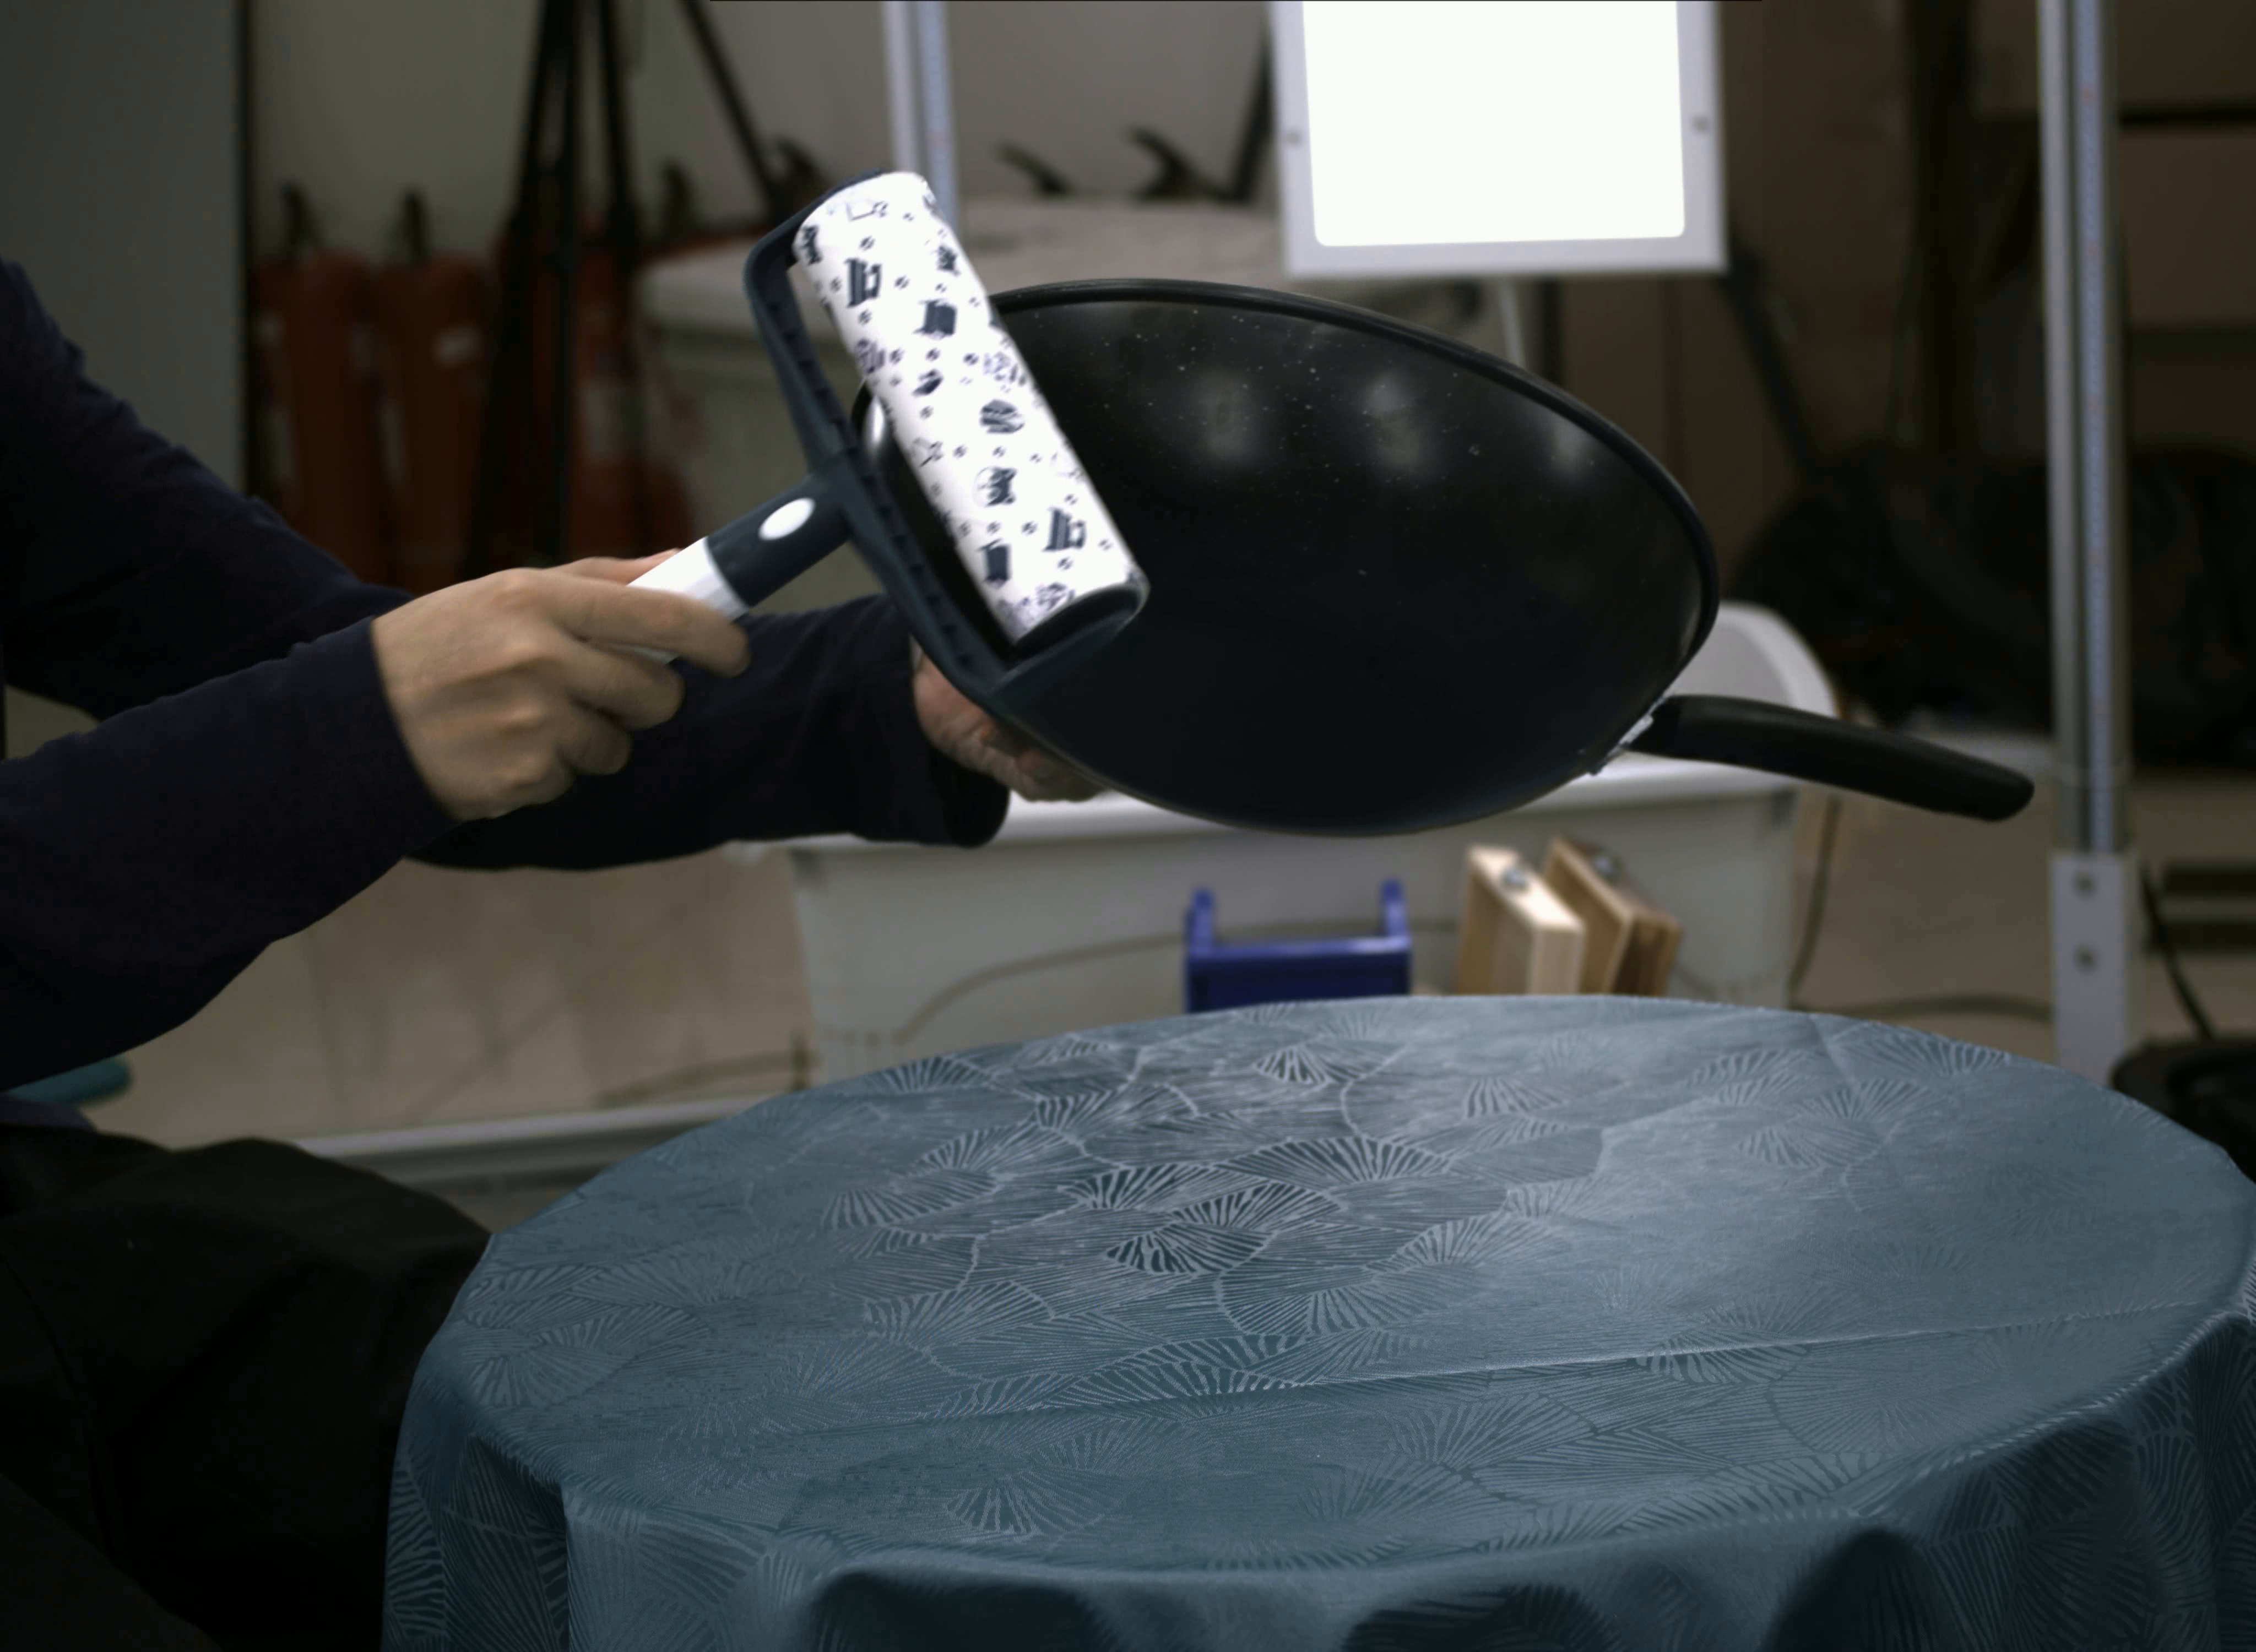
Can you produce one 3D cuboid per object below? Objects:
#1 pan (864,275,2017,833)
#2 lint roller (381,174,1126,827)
[{"bbox_3d":[0.113,-0.053,1.919,0.469,0.111,0.316,23,-24,-21],"label":"pan"},{"bbox_3d":[-0.138,-0.073,1.758,0.249,0.177,0.049,-33,-19,11],"label":"lint roller"}]
